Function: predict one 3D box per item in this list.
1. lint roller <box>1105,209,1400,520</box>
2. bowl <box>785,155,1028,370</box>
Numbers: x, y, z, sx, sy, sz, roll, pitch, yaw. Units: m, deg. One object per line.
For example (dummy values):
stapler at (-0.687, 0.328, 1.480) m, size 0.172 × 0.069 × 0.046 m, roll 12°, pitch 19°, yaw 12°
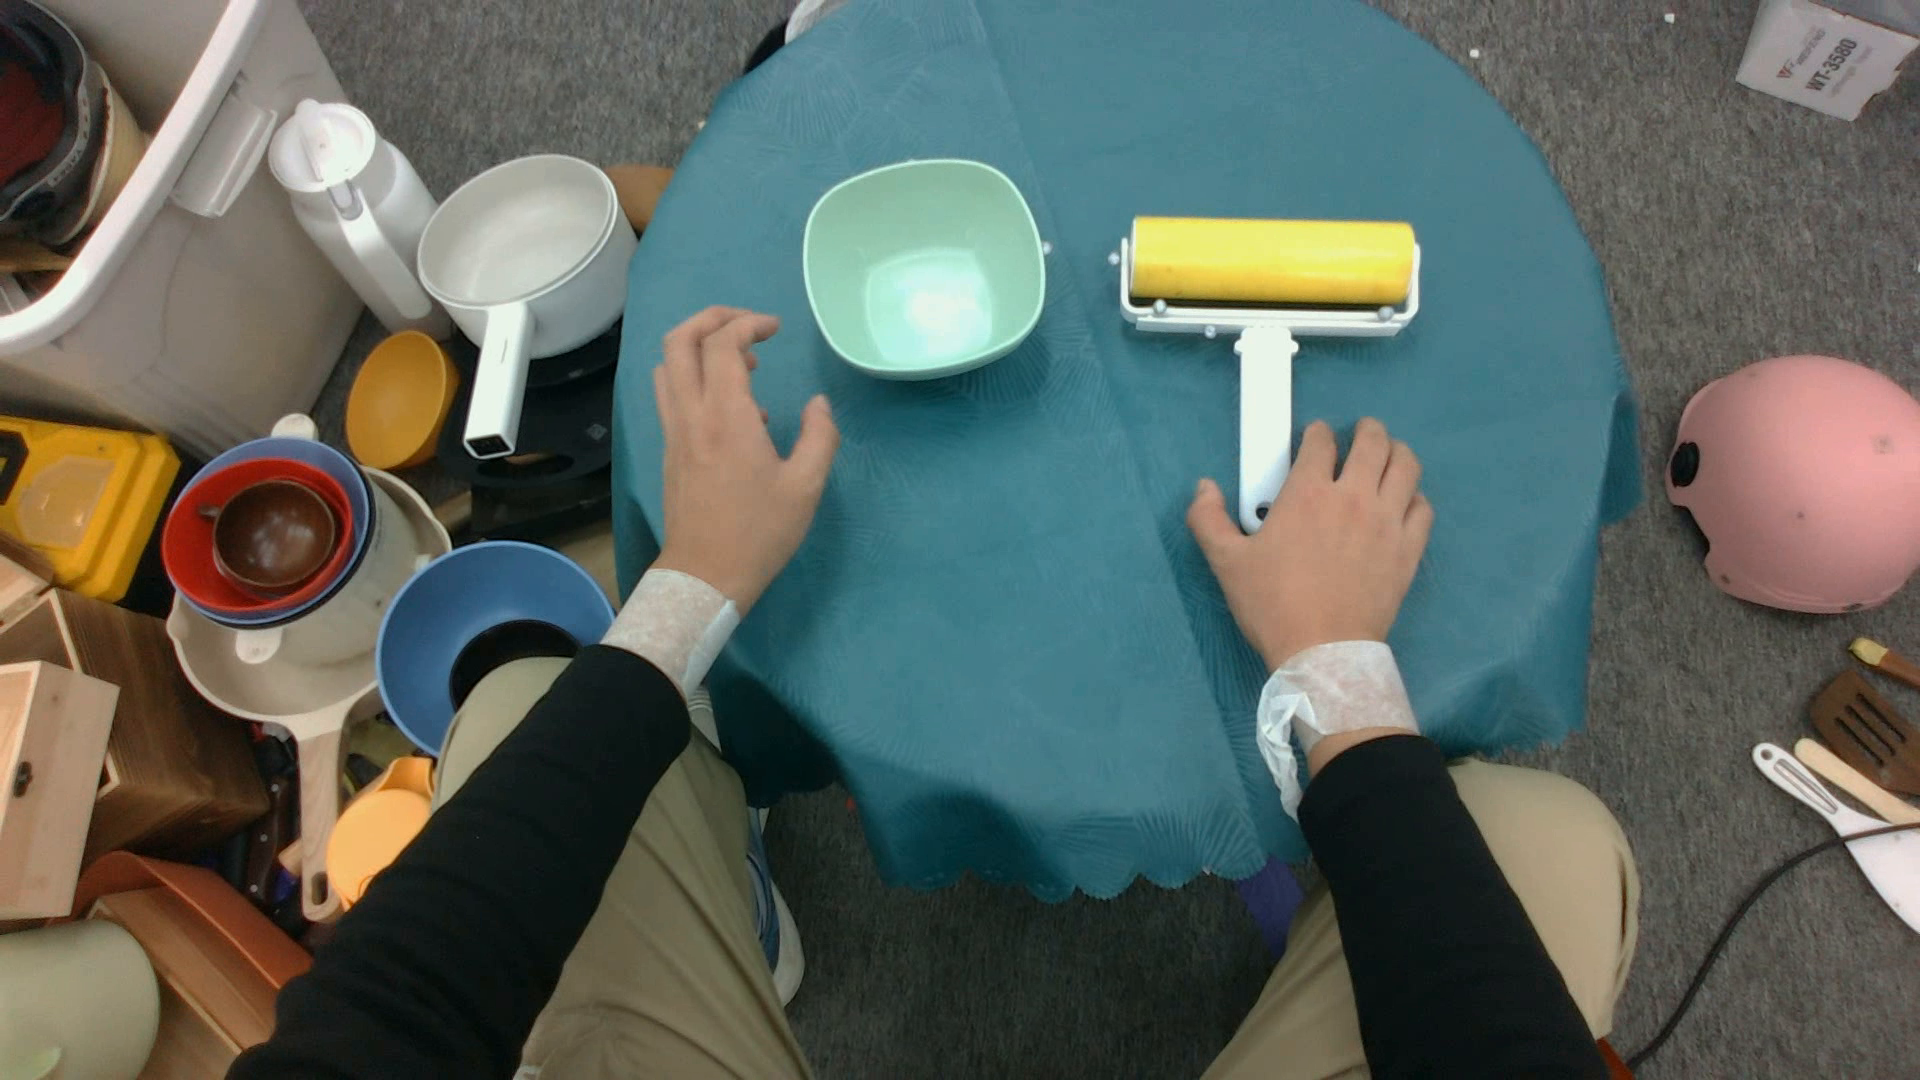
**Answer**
lint roller at (0.173, -0.108, 0.798) m, size 0.174 × 0.051 × 0.193 m, roll 0°, pitch 64°, yaw 2°
bowl at (-0.030, -0.154, 0.818) m, size 0.151 × 0.058 × 0.152 m, roll 0°, pitch 67°, yaw 1°
